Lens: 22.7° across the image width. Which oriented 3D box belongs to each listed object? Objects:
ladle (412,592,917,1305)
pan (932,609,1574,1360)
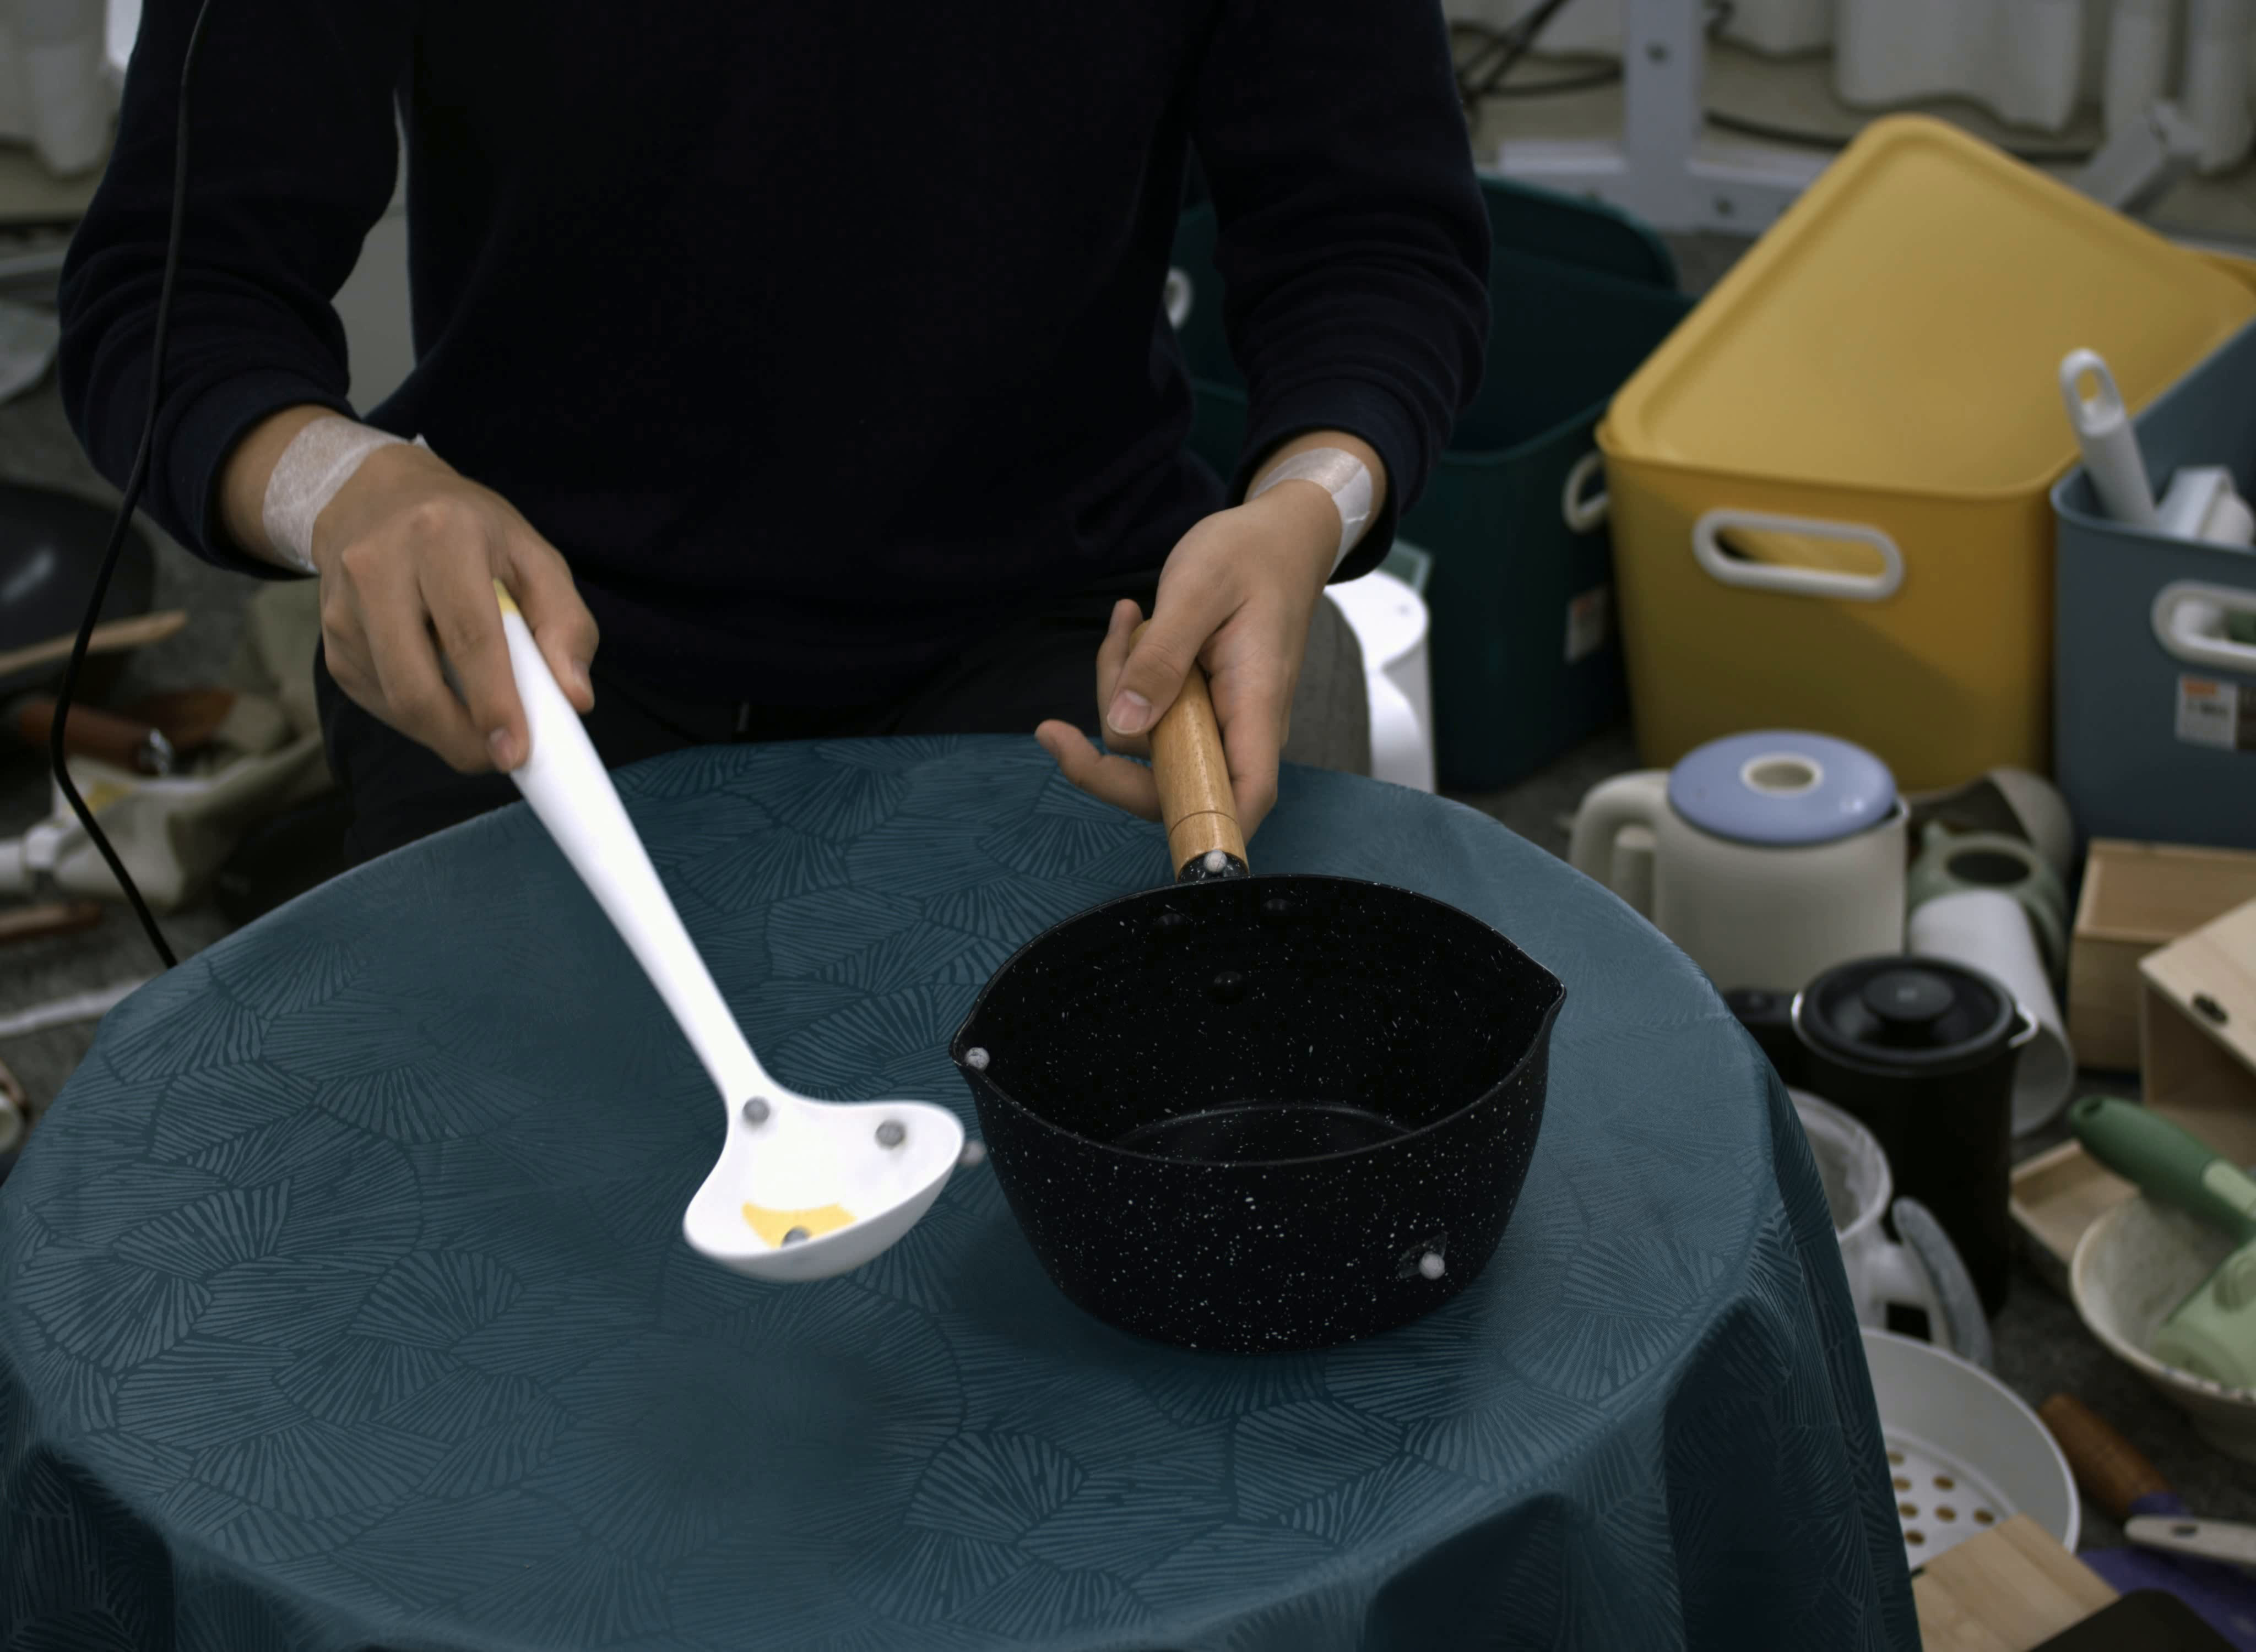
[{"bbox_3d":[-0.157,0.033,1.771,0.090,0.069,0.296,-28,60,-7],"label":"ladle"},{"bbox_3d":[0.032,0.049,1.882,0.207,0.107,0.347,-7,29,-5],"label":"pan"}]
